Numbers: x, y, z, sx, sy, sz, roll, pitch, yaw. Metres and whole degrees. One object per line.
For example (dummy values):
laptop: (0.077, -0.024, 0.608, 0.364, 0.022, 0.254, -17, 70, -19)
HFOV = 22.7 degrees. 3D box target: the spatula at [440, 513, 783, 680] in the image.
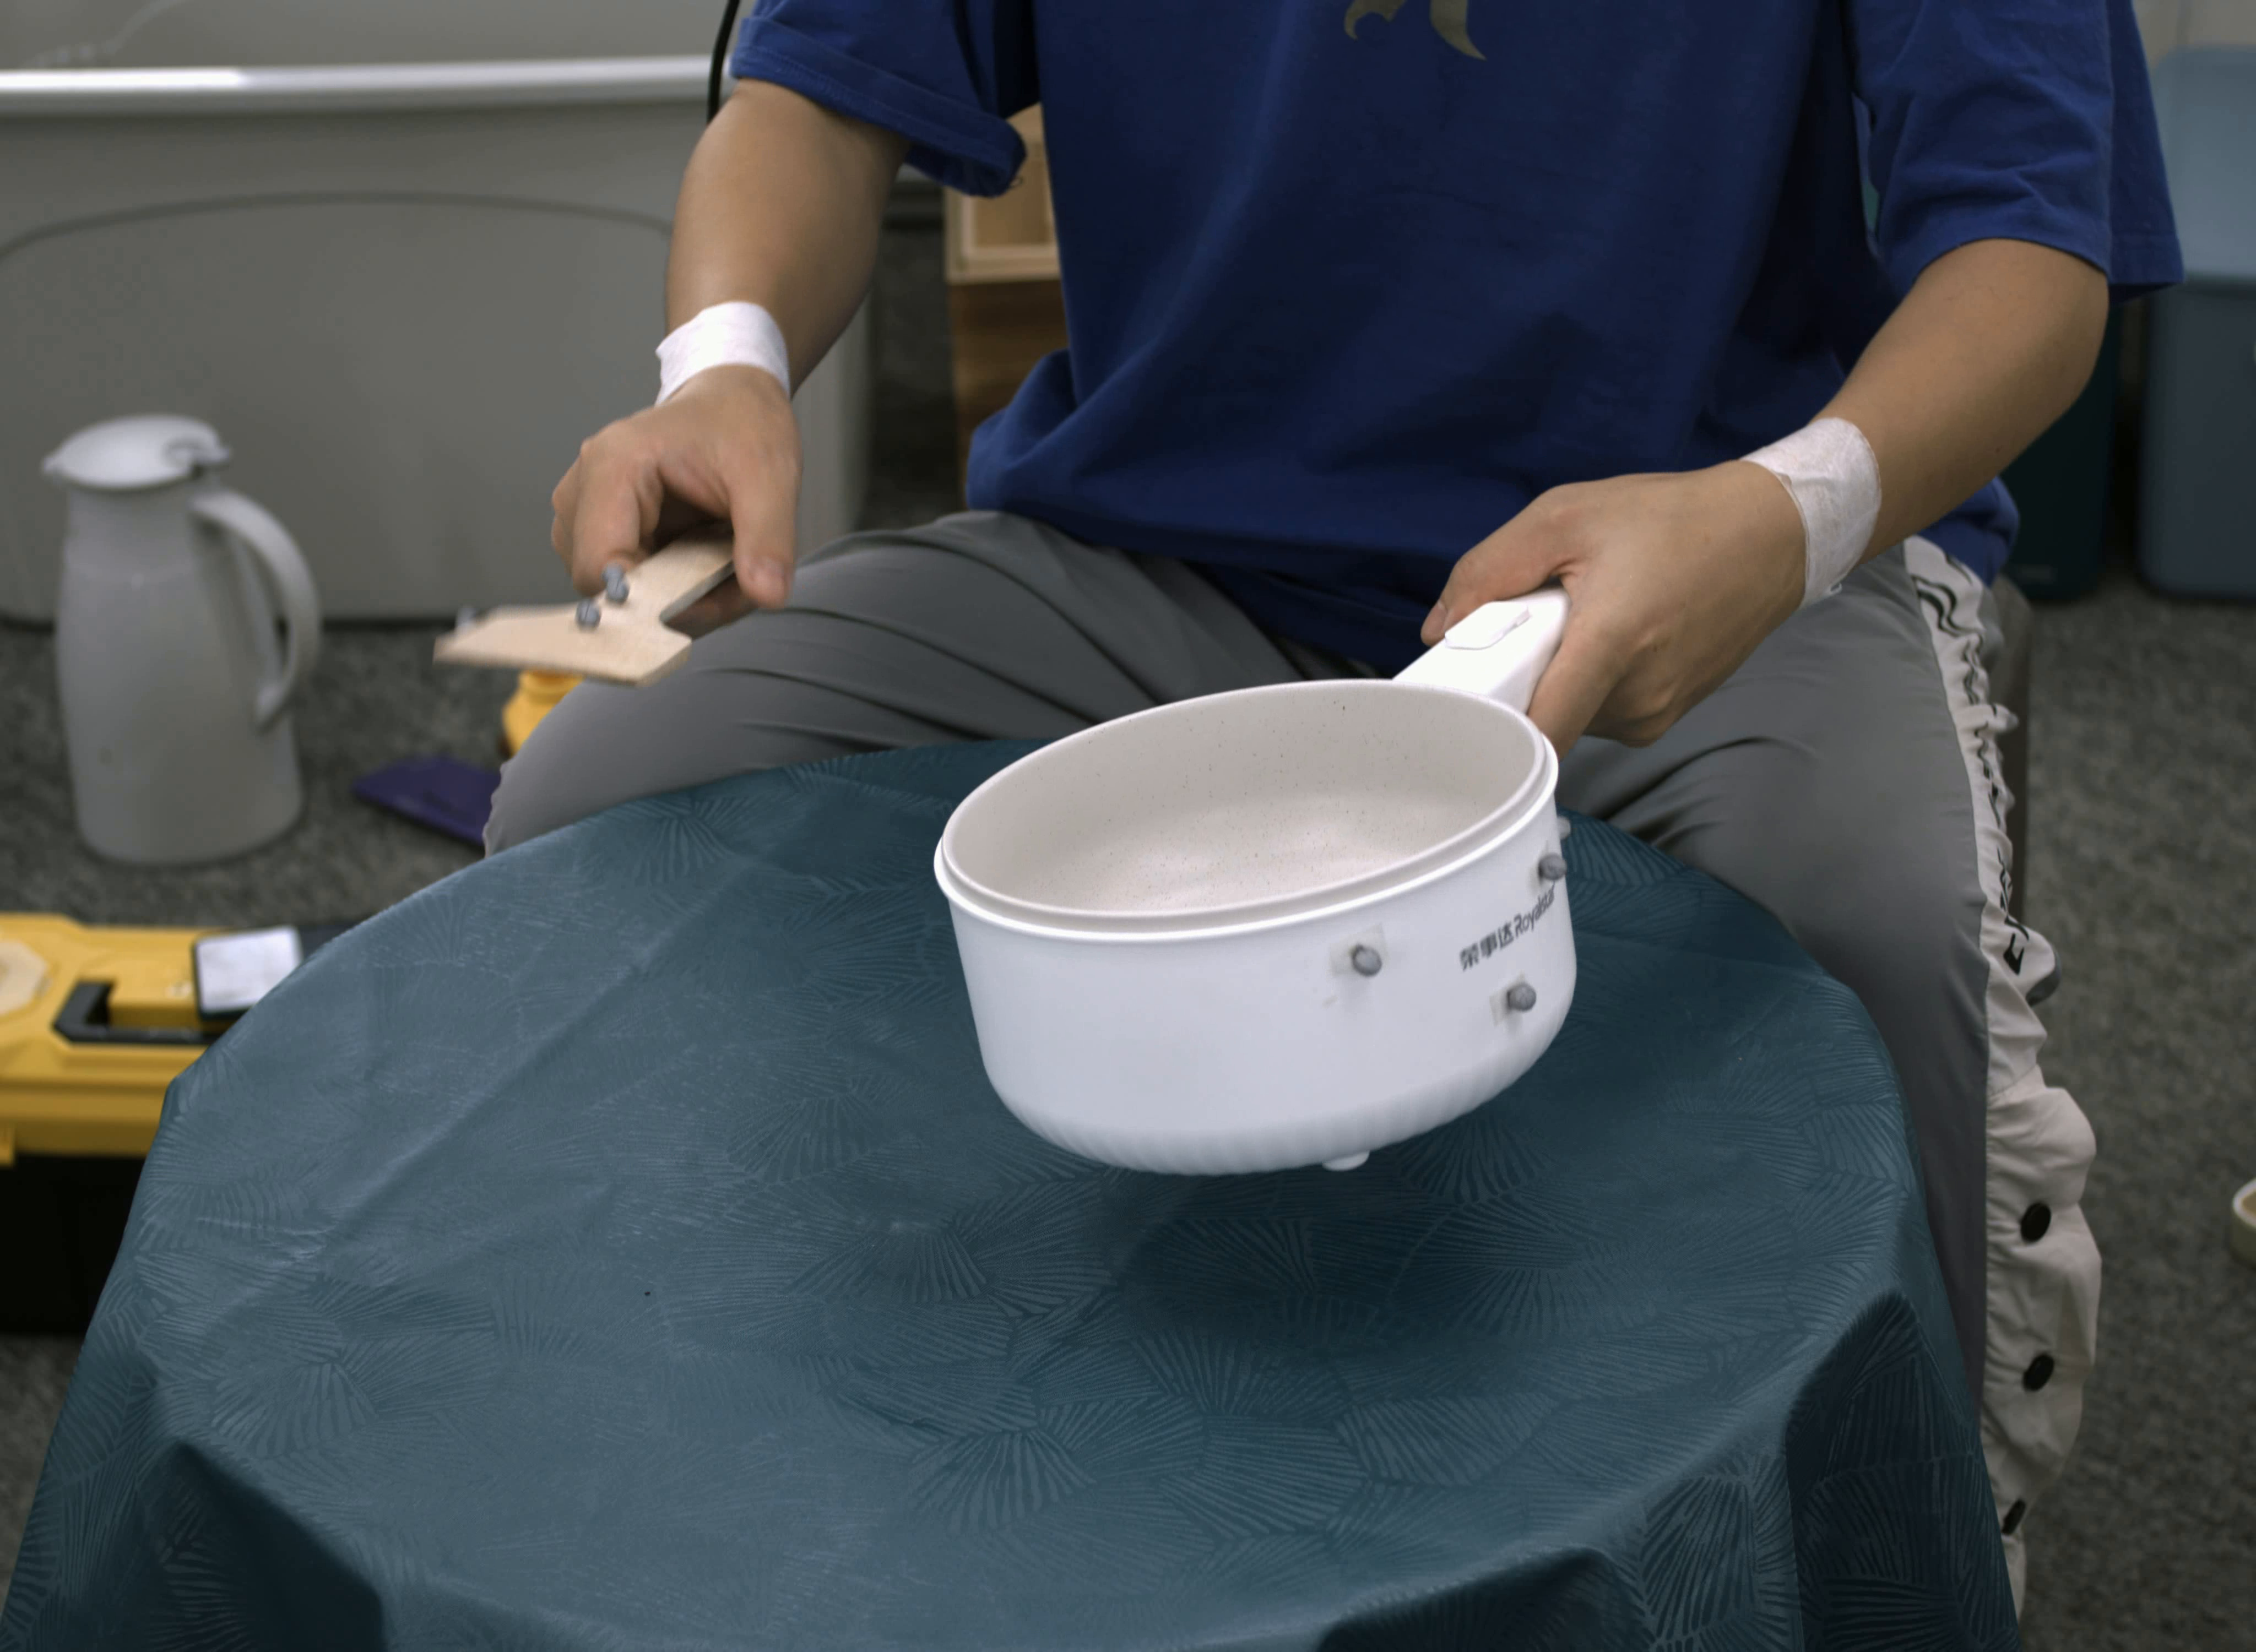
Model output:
spatula: (-0.164, -0.081, 1.926, 0.072, 0.010, 0.295, 10, 13, 7)

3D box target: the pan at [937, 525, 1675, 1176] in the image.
pan: (0.086, 0.006, 1.861, 0.199, 0.101, 0.360, 1, 23, 34)
